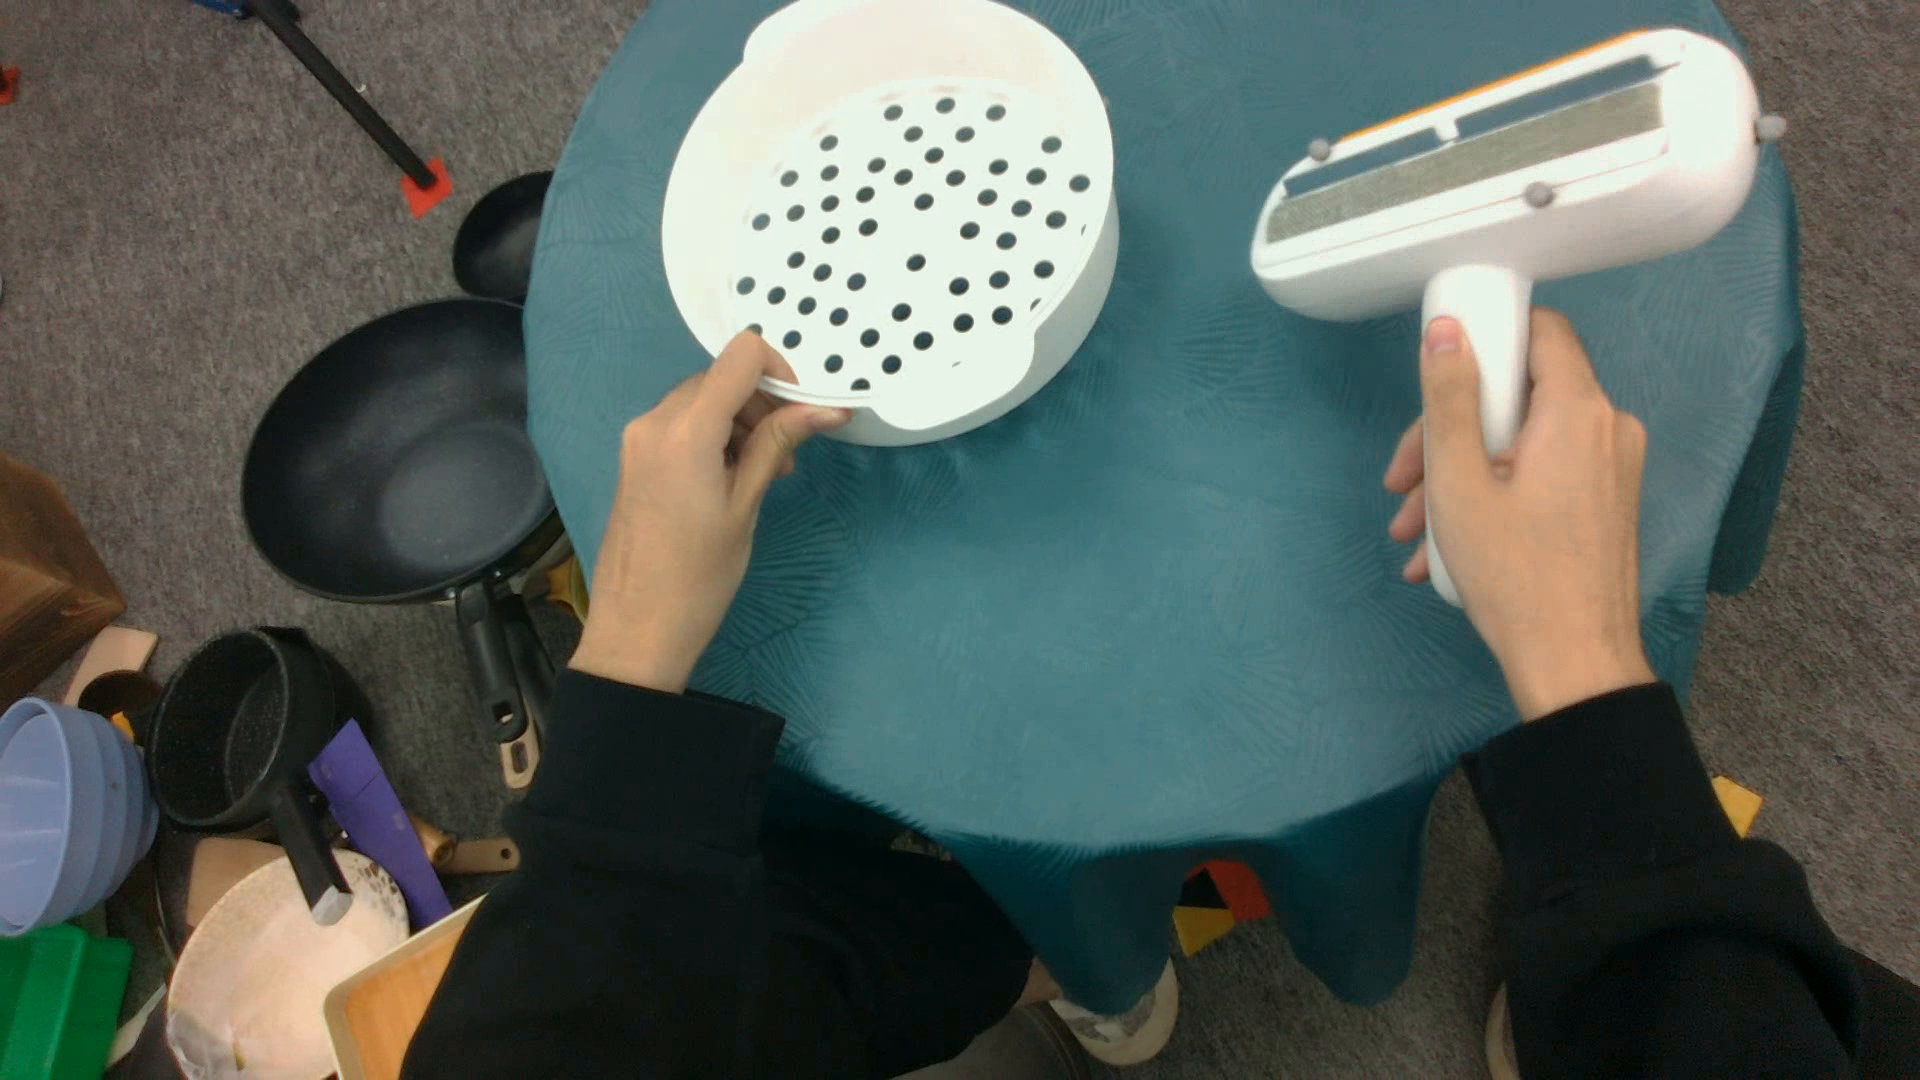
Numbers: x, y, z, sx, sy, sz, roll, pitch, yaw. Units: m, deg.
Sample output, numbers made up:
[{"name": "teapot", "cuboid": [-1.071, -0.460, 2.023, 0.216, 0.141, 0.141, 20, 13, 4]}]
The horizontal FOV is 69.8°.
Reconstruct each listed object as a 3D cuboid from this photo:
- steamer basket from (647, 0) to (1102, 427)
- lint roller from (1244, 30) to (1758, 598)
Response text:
[{"name": "steamer basket", "cuboid": [-0.036, -0.150, 0.624, 0.202, 0.069, 0.231, -24, 70, 5]}, {"name": "lint roller", "cuboid": [0.185, -0.076, 0.512, 0.192, 0.074, 0.192, 3, 77, 47]}]
